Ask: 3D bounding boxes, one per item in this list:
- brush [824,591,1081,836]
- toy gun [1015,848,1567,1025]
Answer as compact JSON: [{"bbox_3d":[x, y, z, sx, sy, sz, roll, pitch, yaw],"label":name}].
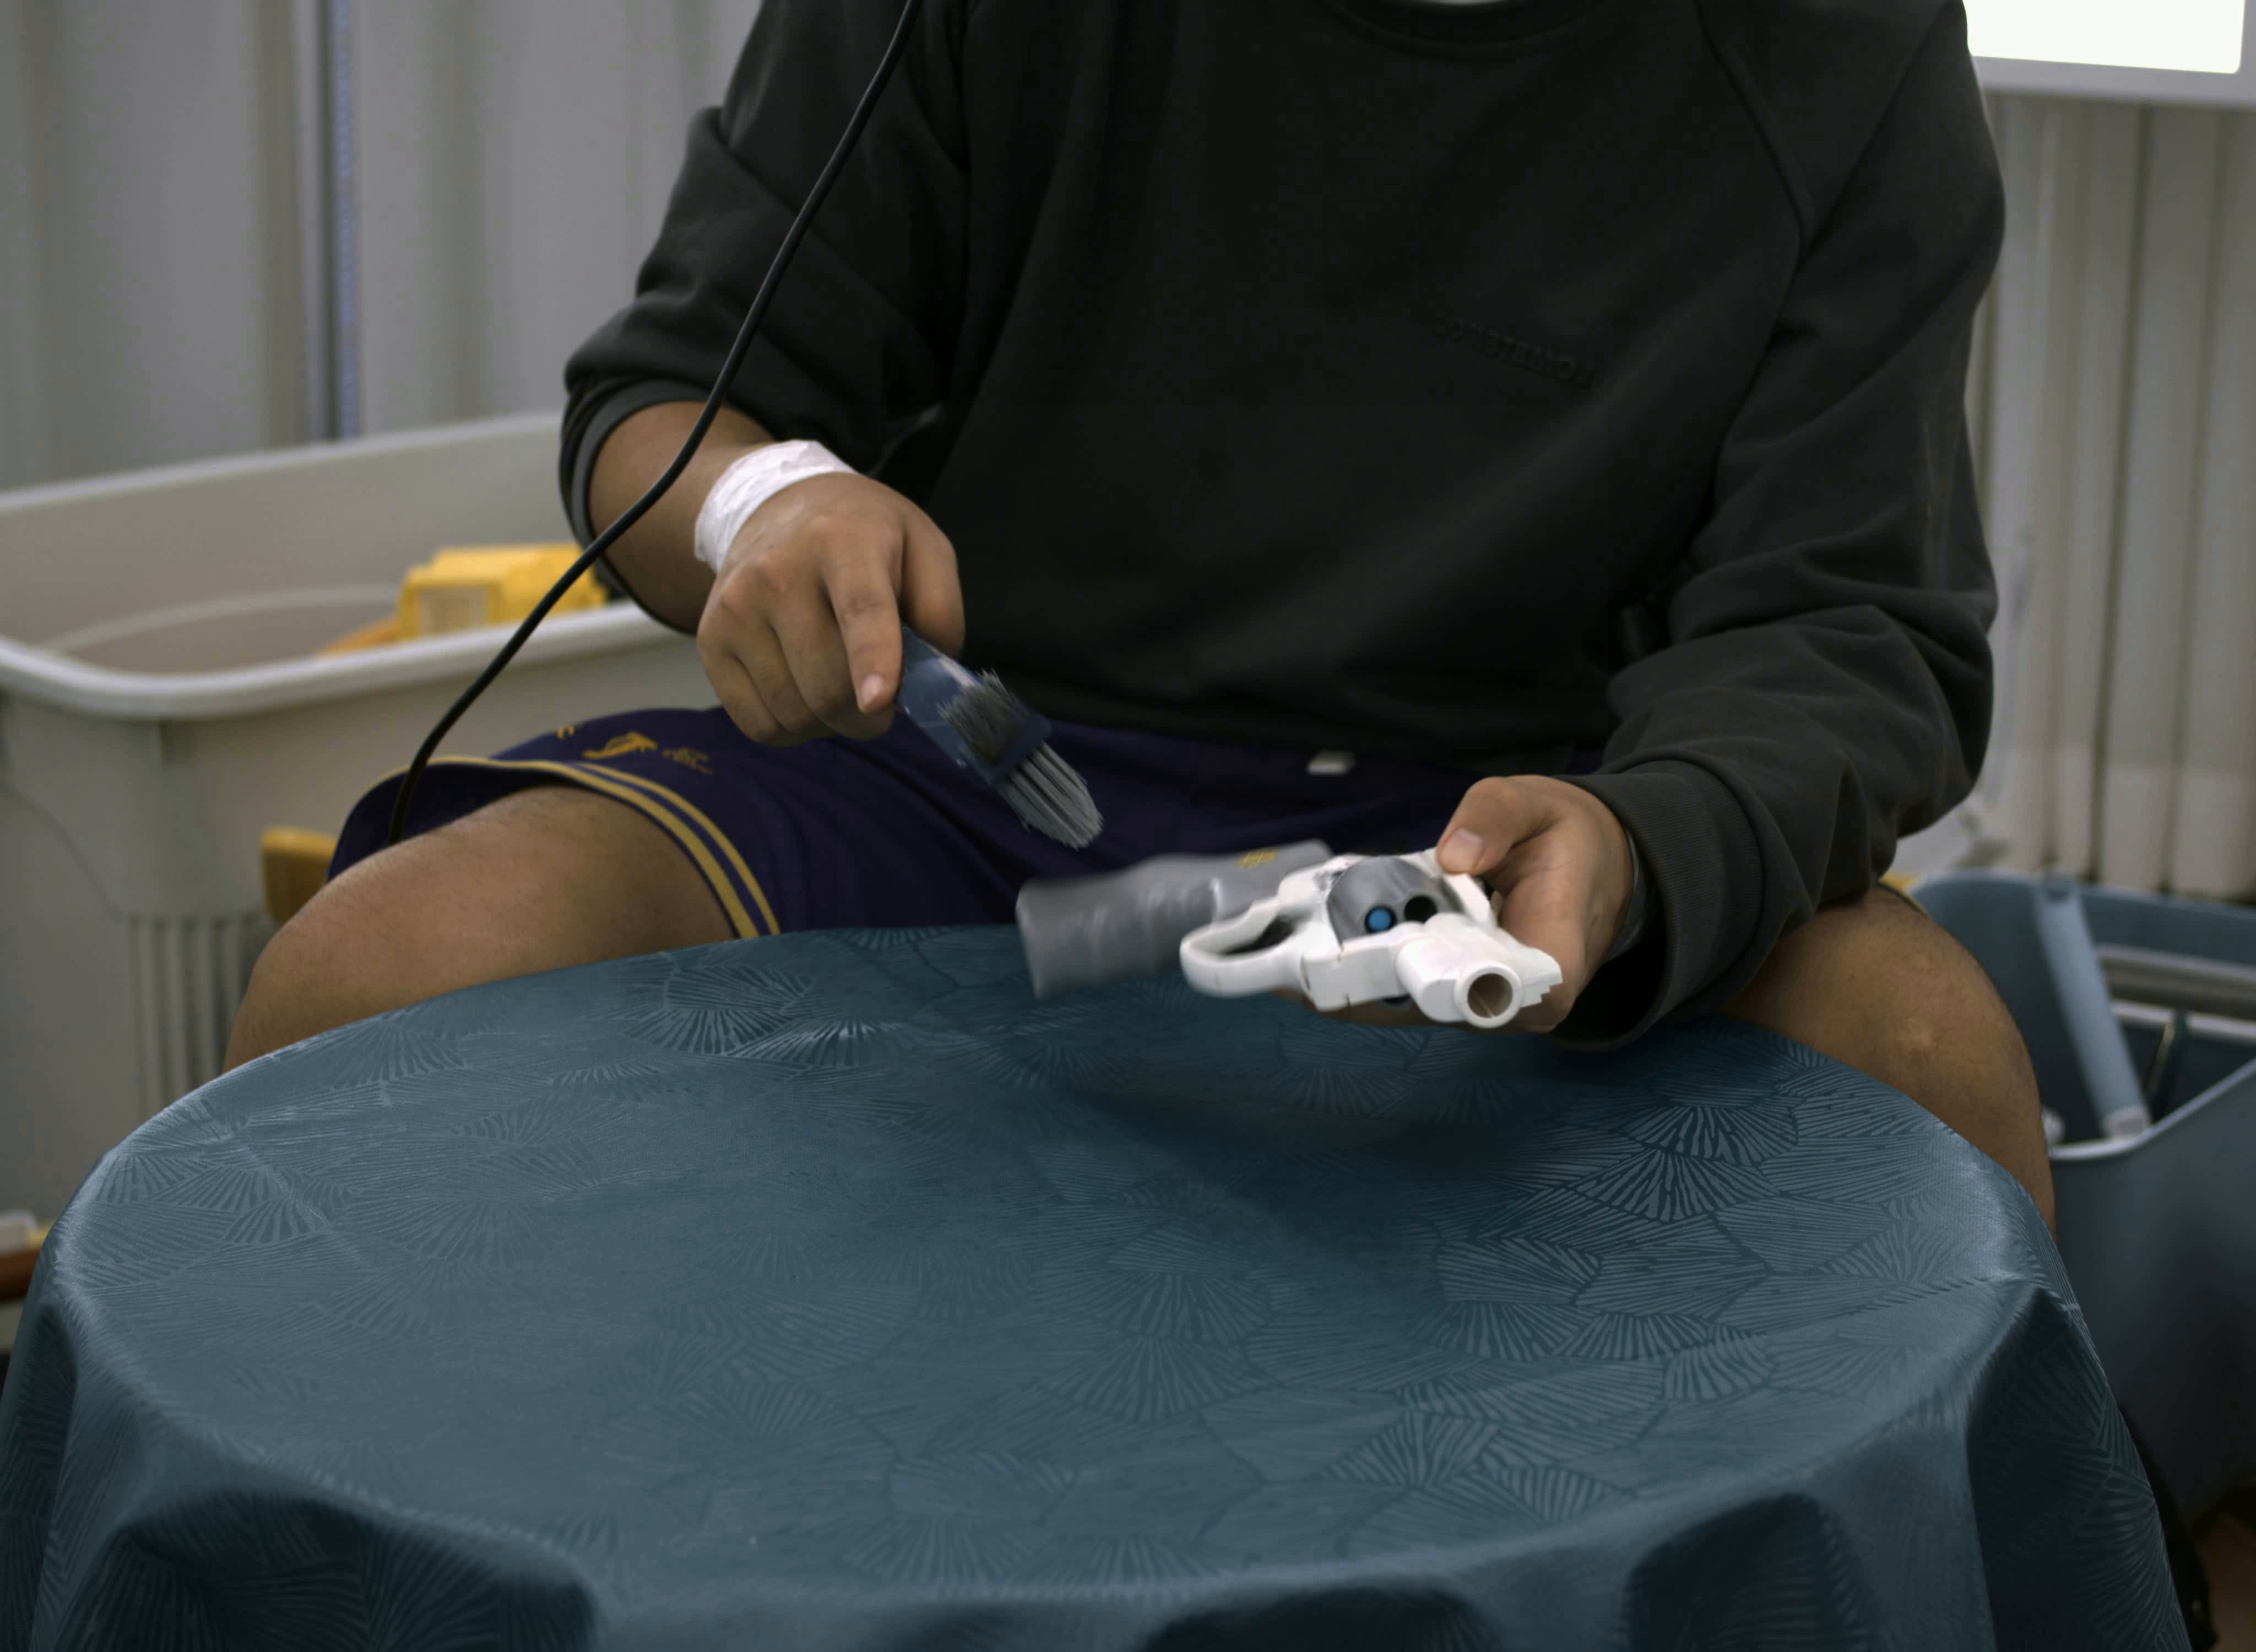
[{"bbox_3d":[-0.070,-0.051,1.737,0.033,0.097,0.270,-47,27,-2],"label":"brush"},{"bbox_3d":[0.046,0.041,1.624,0.141,0.039,0.207,-17,14,-6],"label":"toy gun"}]
